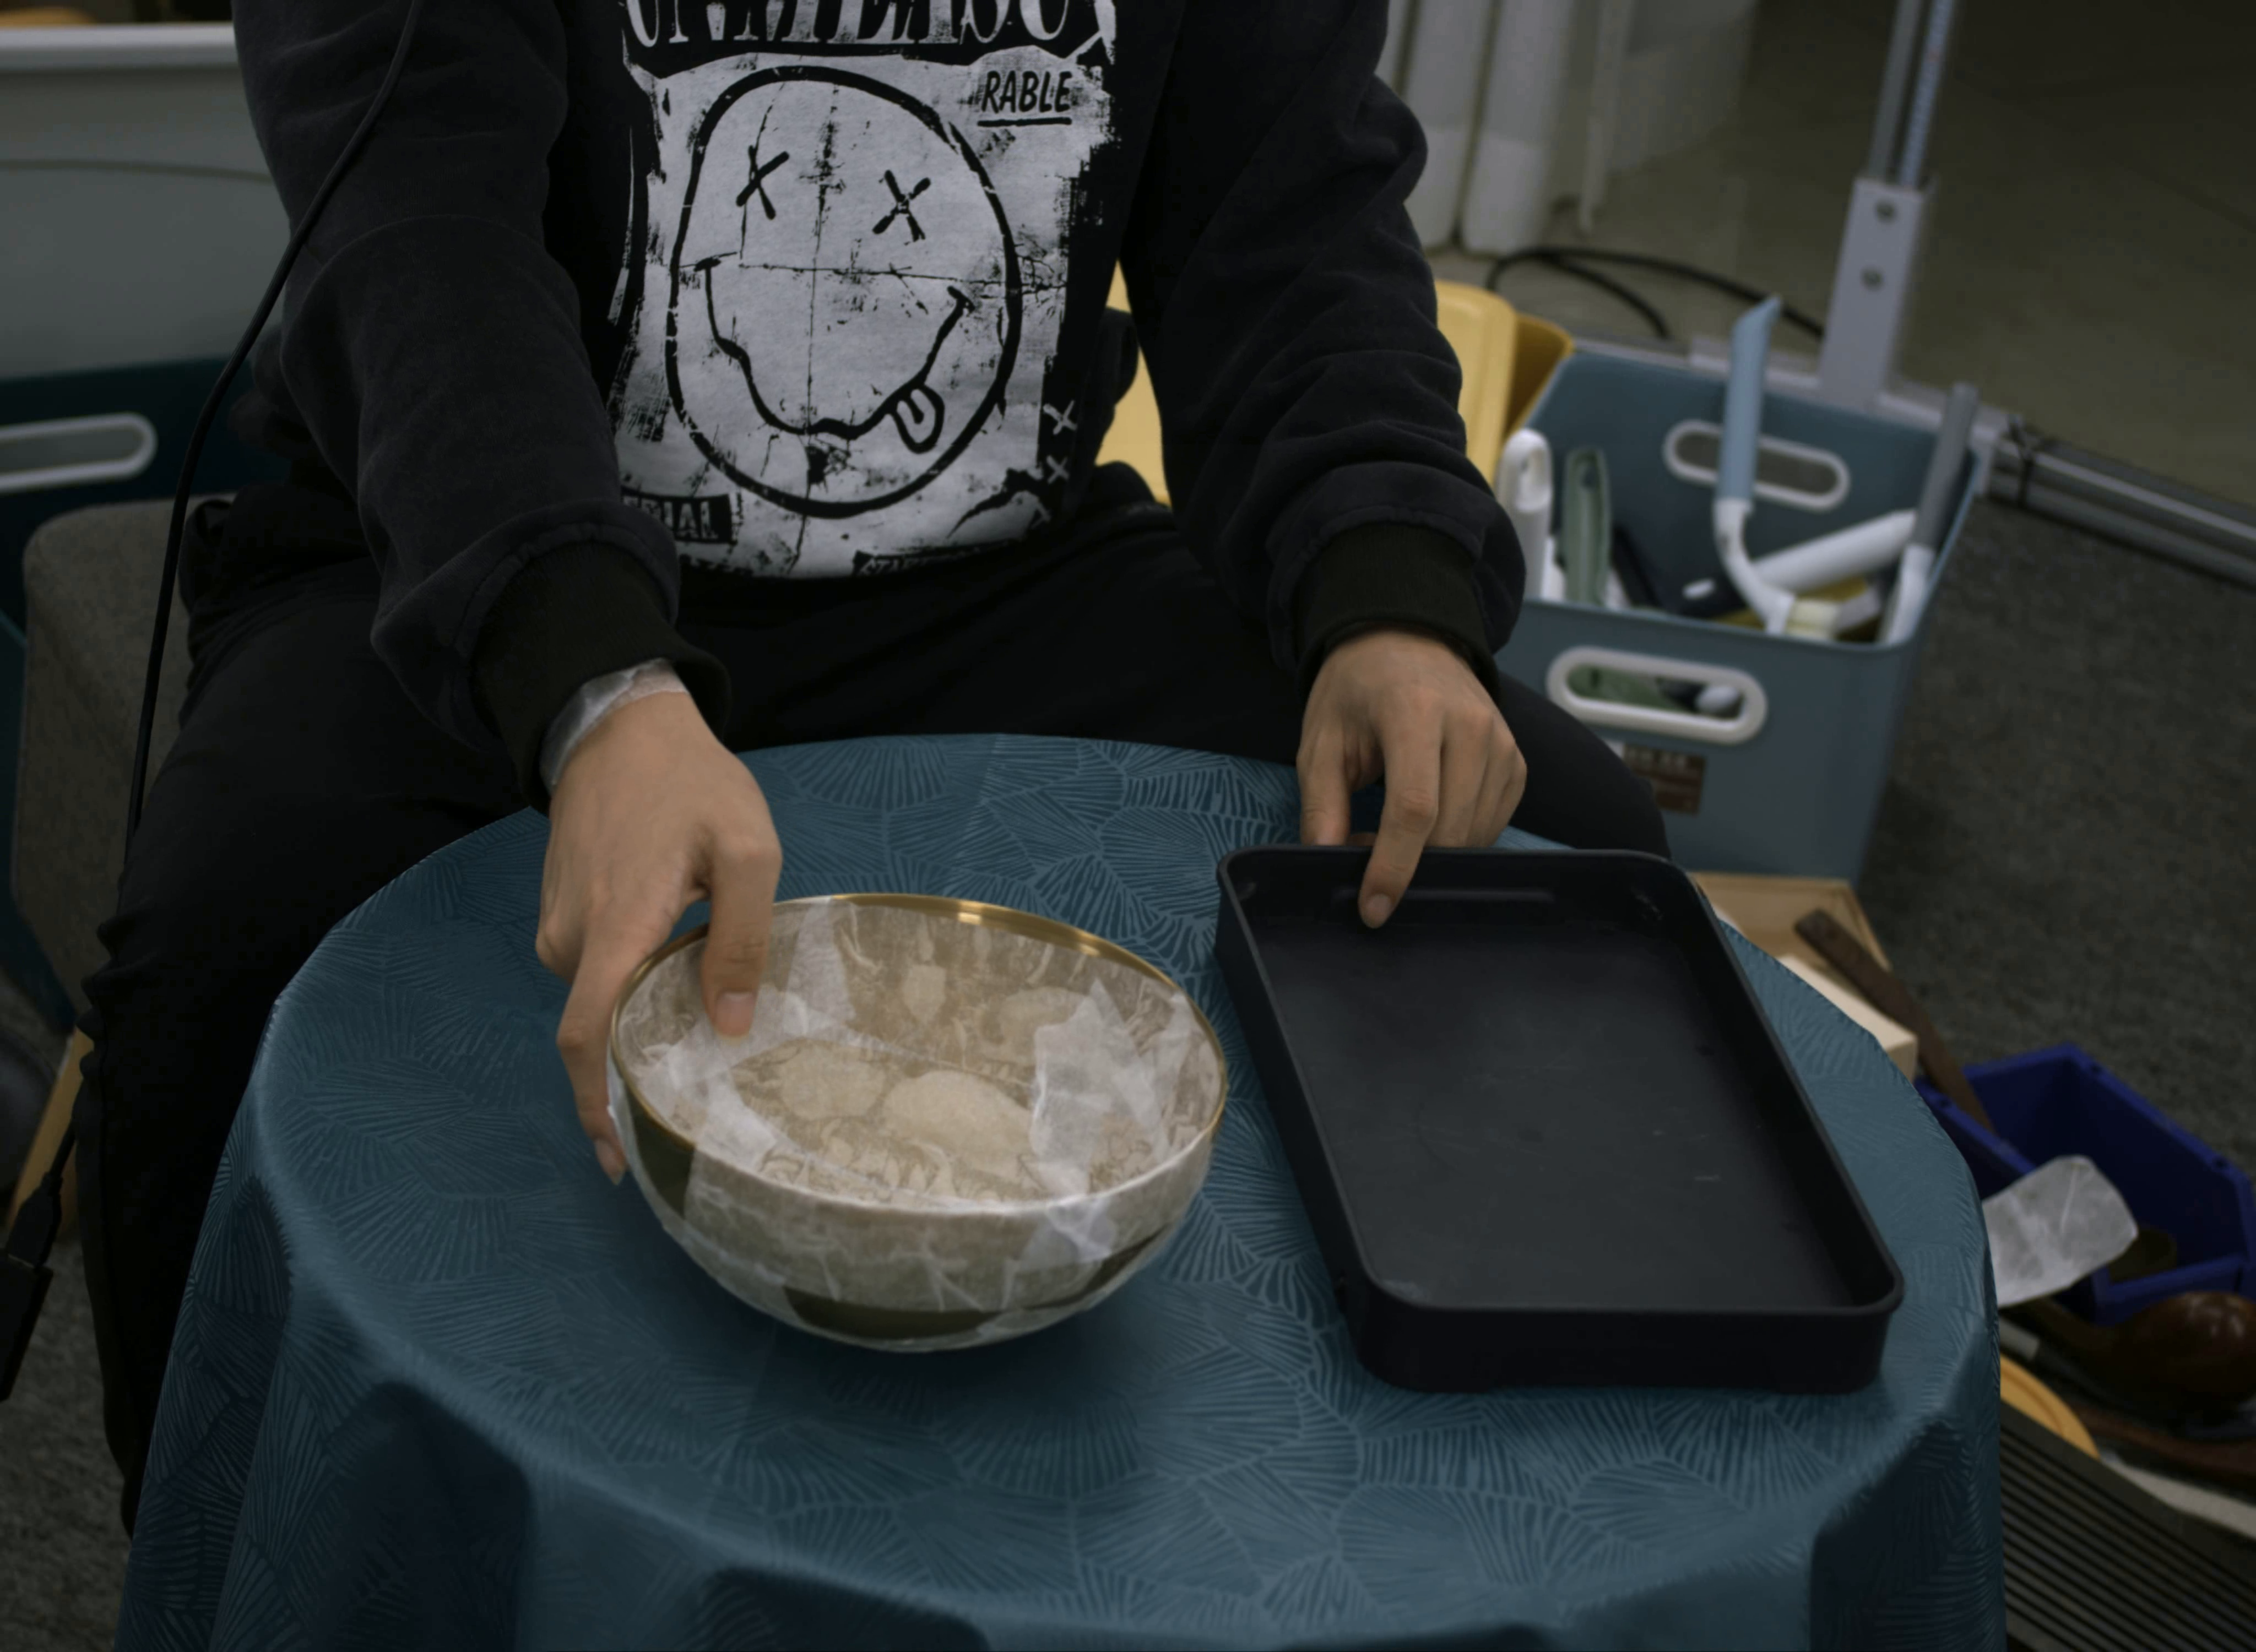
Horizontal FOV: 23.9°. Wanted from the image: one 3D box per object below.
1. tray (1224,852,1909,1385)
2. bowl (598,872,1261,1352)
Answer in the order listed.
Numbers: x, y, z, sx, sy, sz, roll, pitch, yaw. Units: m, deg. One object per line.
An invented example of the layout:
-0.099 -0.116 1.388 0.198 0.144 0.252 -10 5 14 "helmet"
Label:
0.143 0.096 1.844 0.183 0.037 0.320 1 26 -9 "tray"
-0.069 0.106 1.717 0.214 0.094 0.216 4 28 -2 "bowl"
